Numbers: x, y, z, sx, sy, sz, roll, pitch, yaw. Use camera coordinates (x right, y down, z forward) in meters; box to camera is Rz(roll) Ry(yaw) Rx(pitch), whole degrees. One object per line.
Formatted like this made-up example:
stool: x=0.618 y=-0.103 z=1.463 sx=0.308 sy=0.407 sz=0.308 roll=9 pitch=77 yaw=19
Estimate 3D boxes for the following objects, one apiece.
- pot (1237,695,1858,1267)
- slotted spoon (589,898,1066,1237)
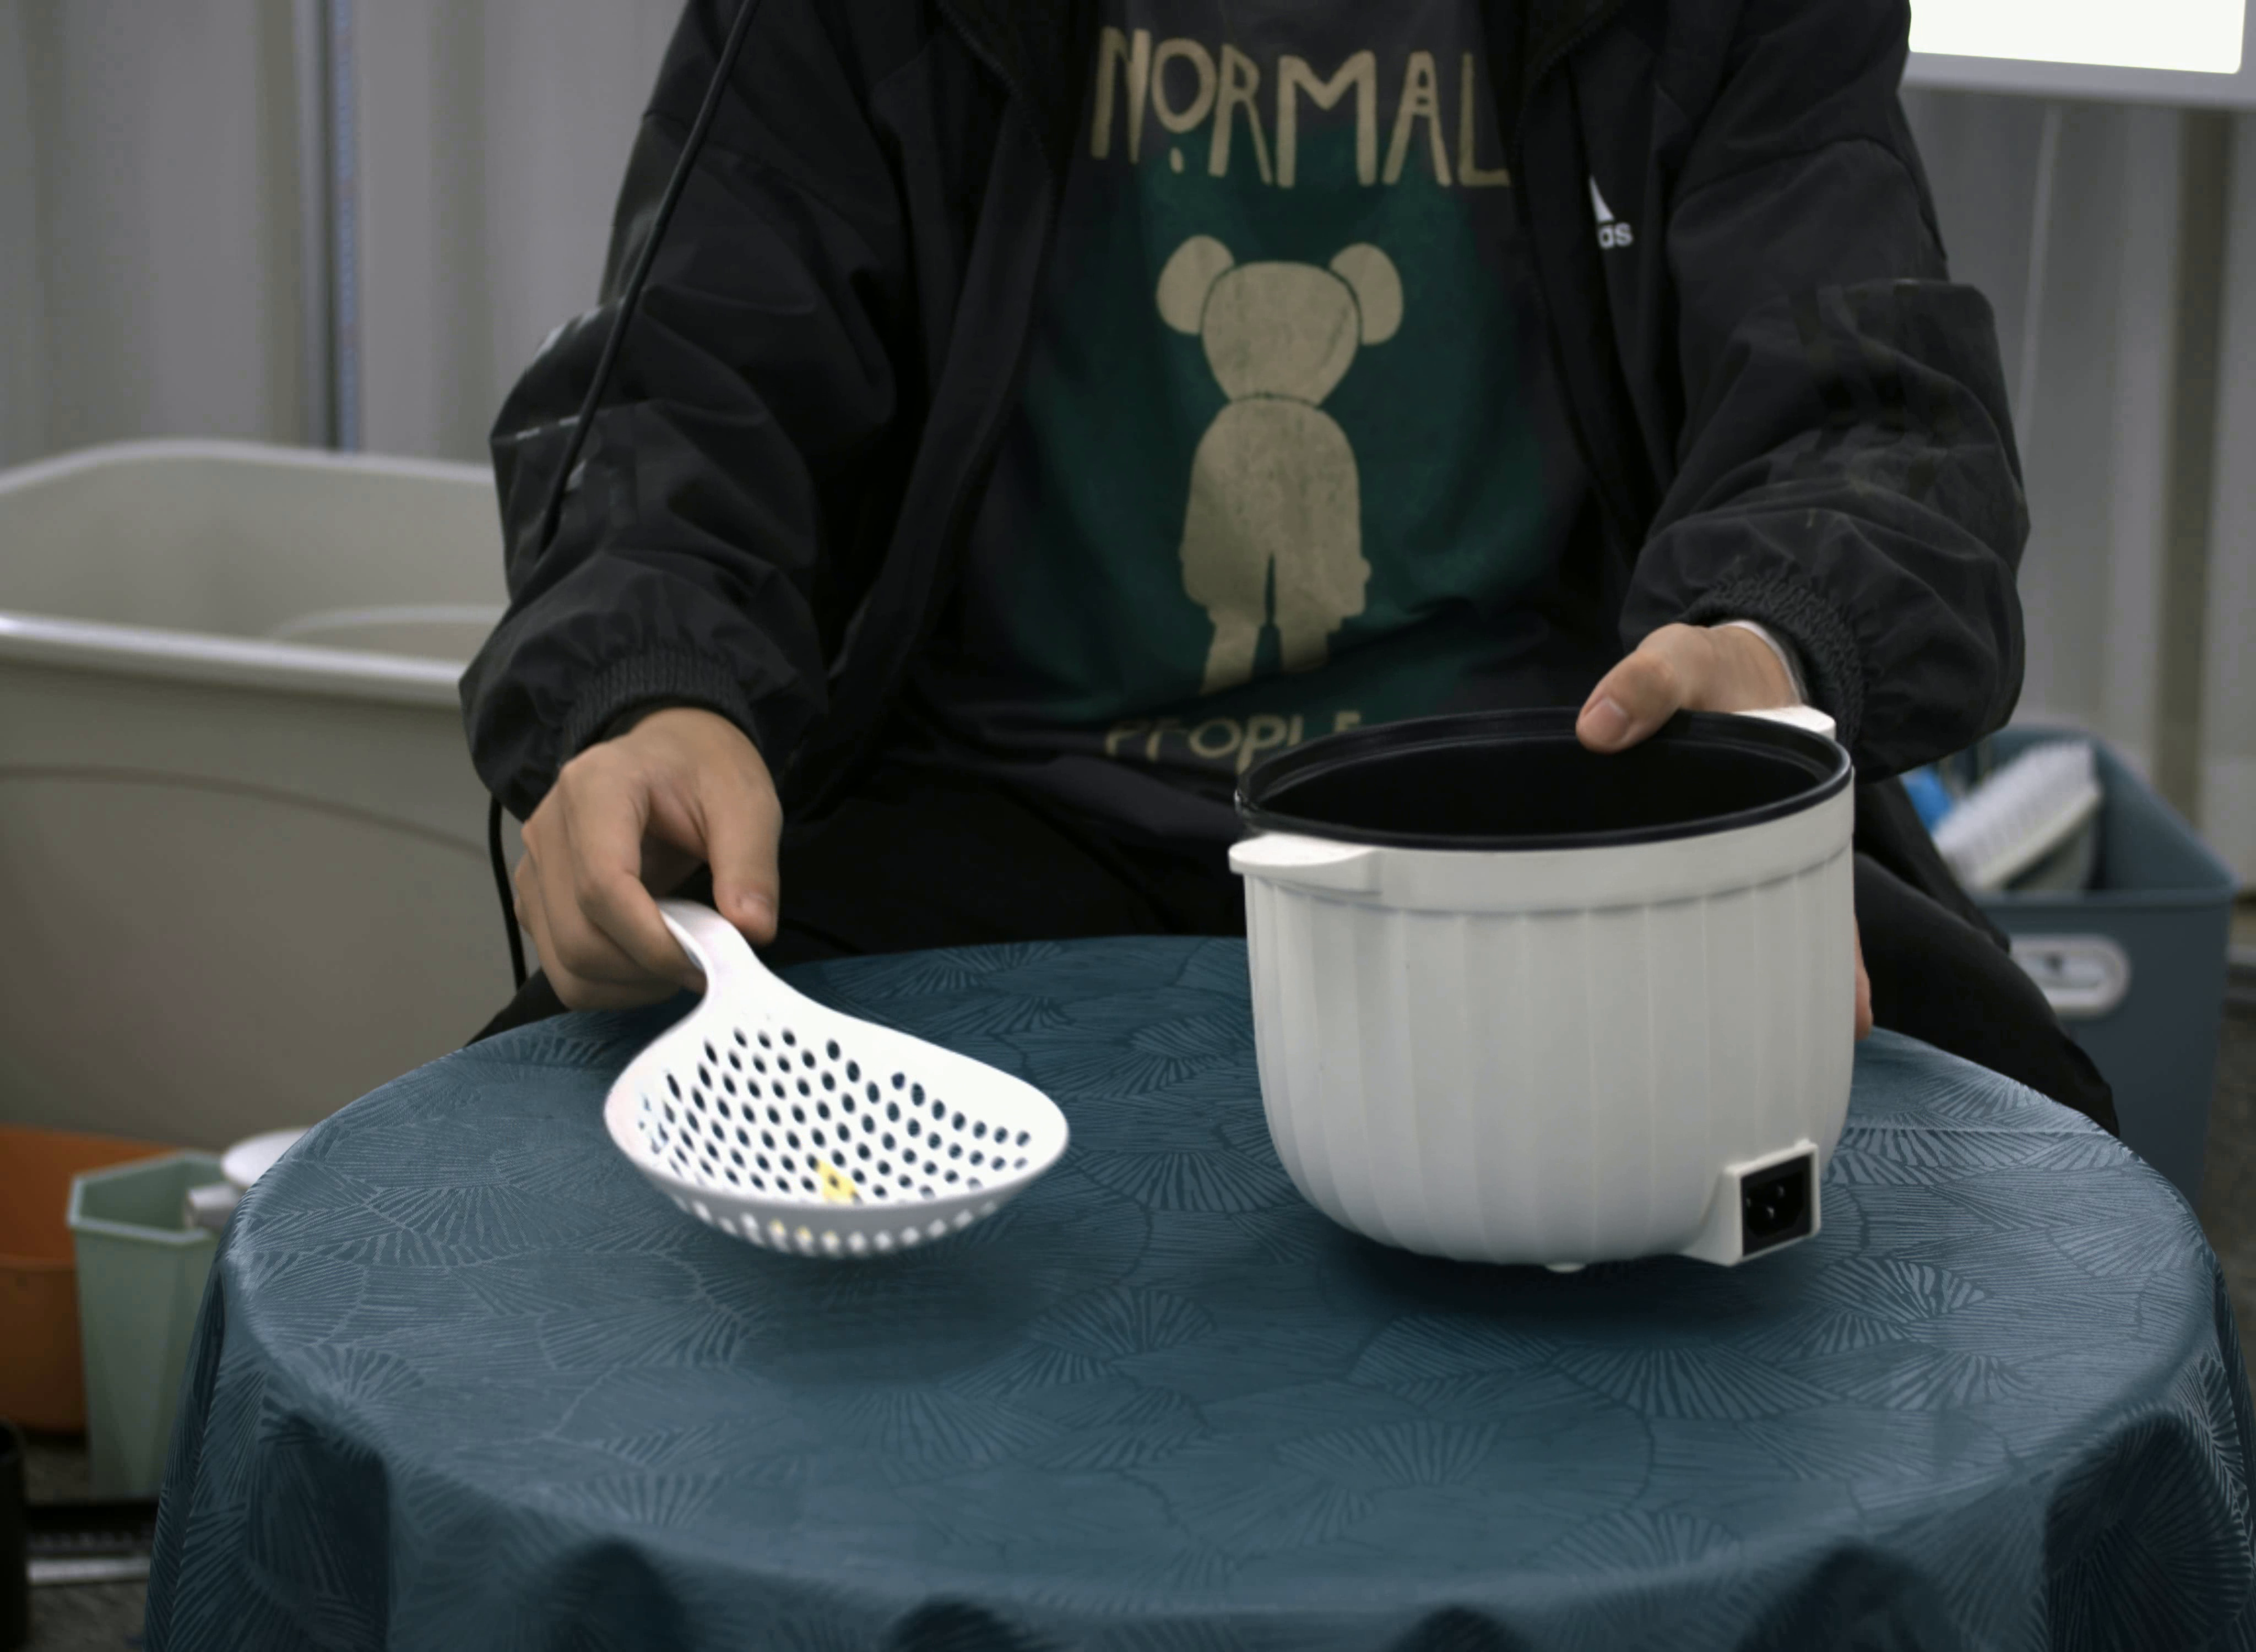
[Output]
pot: x=0.121 y=0.045 z=1.561 sx=0.241 sy=0.144 sz=0.188 roll=-13 pitch=20 yaw=-42
slotted spoon: x=-0.119 y=0.061 z=1.636 sx=0.137 sy=0.051 sz=0.344 roll=-2 pitch=20 yaw=-17
